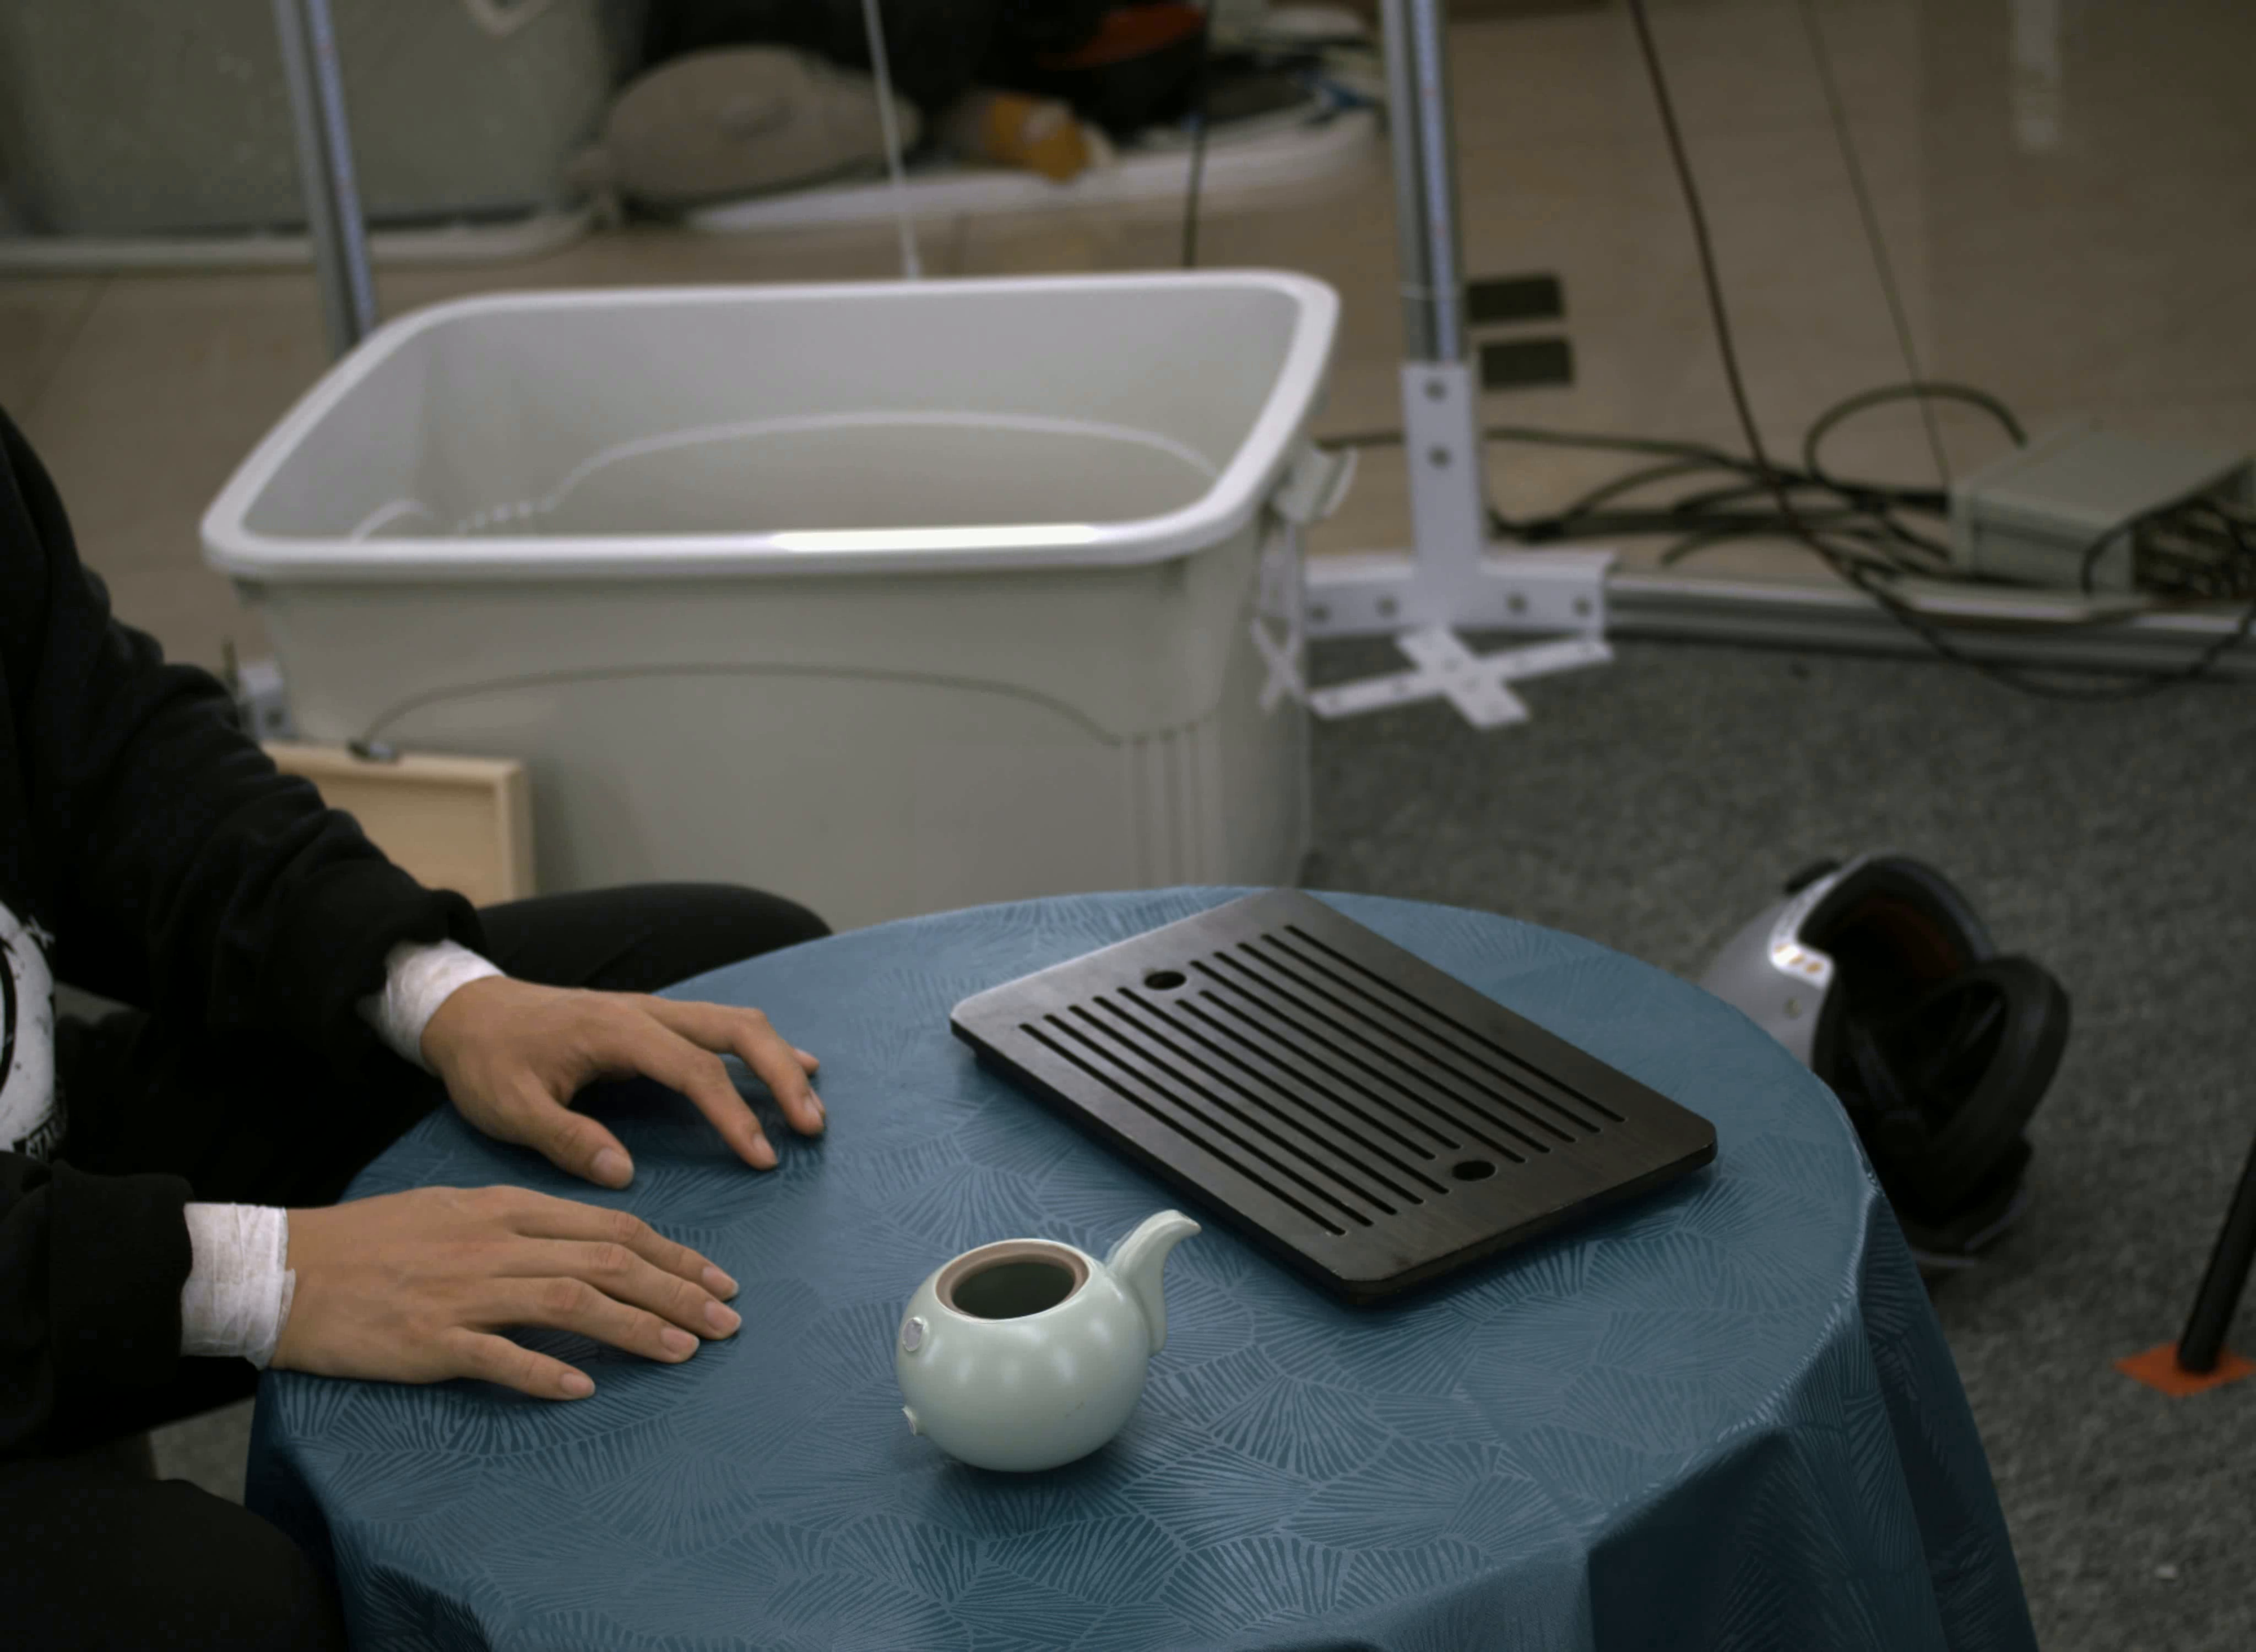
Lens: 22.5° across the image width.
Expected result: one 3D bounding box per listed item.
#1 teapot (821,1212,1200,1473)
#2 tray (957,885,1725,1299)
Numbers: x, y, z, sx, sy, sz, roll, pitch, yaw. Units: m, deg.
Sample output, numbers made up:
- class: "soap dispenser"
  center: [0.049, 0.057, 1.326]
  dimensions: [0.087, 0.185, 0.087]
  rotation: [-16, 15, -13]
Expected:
- class: "teapot"
  center: [-0.038, 0.183, 1.977]
  dimensions: [0.143, 0.076, 0.087]
  rotation: [-14, 26, -18]
- class: "tray"
  center: [0.077, 0.100, 2.194]
  dimensions: [0.169, 0.019, 0.302]
  rotation: [-20, 28, -26]
